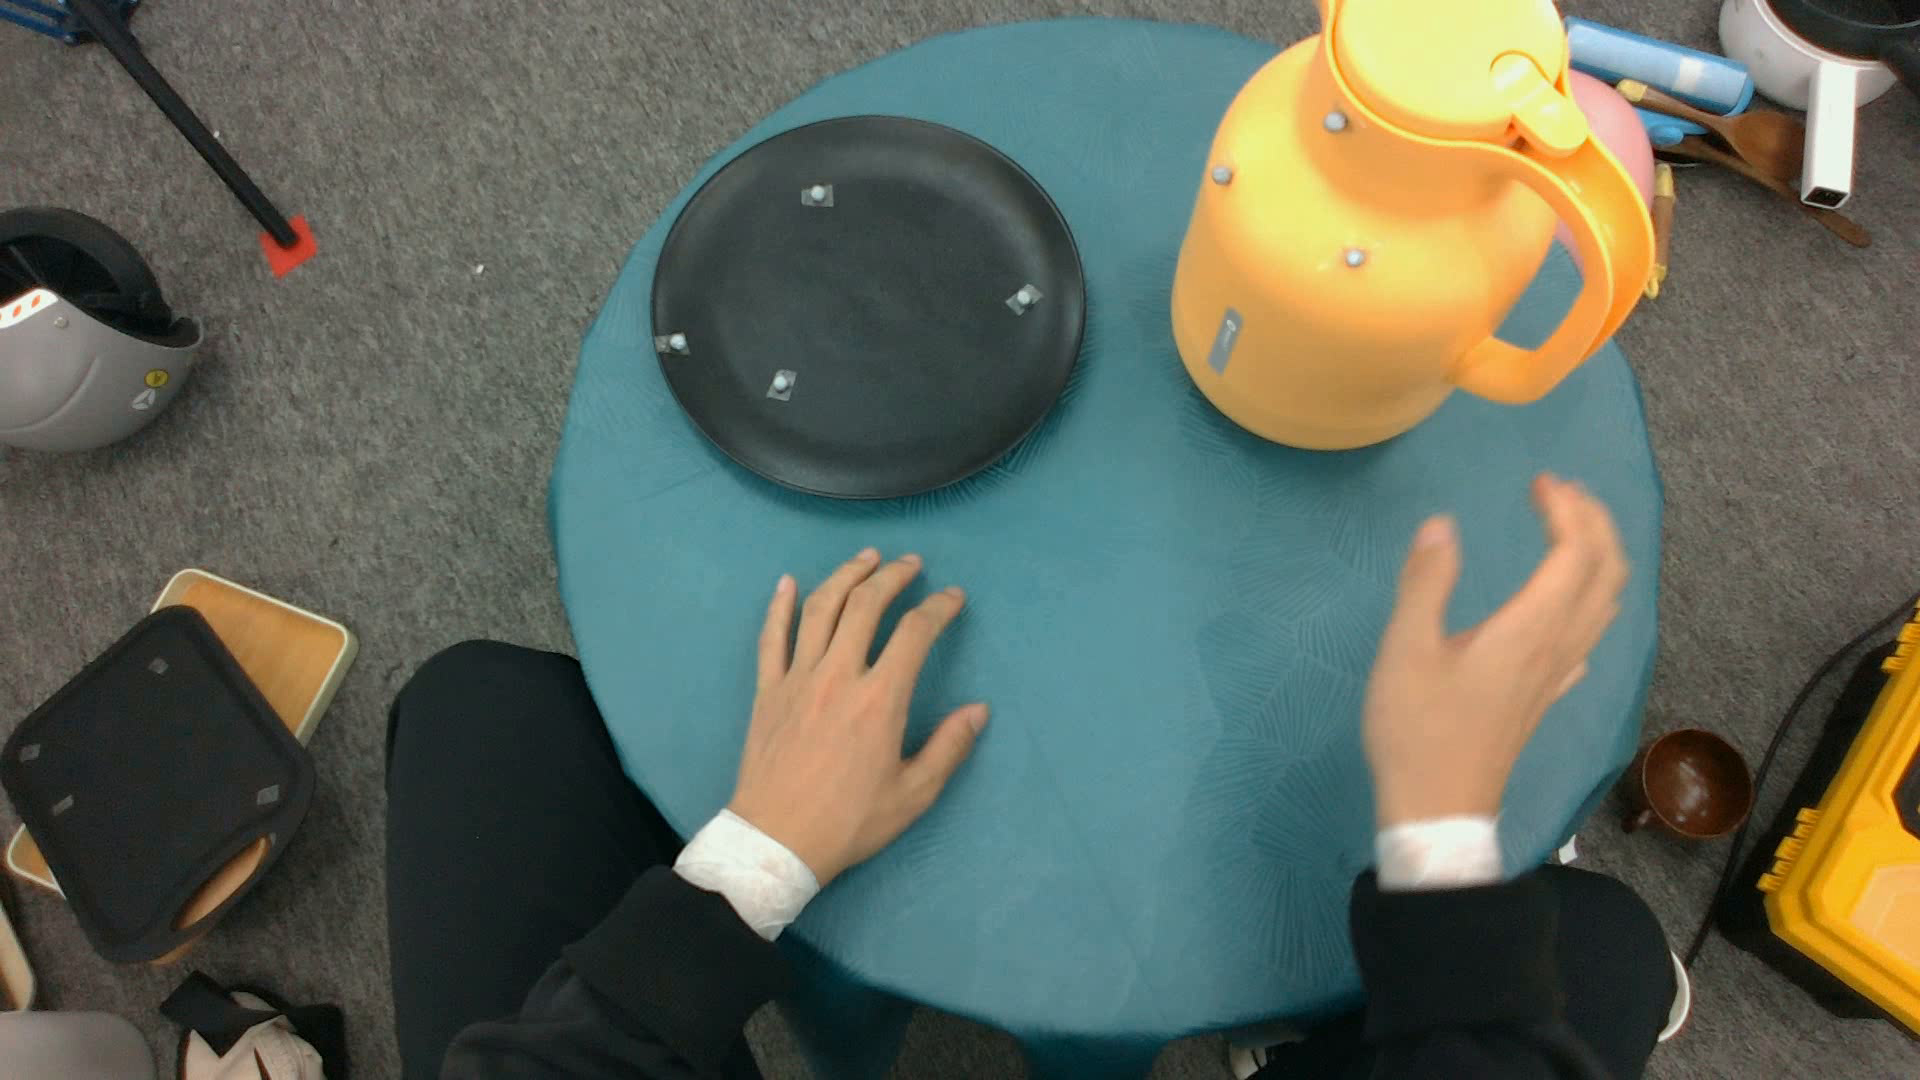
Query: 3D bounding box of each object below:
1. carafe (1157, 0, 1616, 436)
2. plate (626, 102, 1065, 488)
[{"bbox_3d":[0.195,-0.151,0.654,0.164,0.259,0.202,-36,72,-10],"label":"carafe"},{"bbox_3d":[-0.063,-0.139,0.773,0.244,0.023,0.245,0,70,0],"label":"plate"}]
